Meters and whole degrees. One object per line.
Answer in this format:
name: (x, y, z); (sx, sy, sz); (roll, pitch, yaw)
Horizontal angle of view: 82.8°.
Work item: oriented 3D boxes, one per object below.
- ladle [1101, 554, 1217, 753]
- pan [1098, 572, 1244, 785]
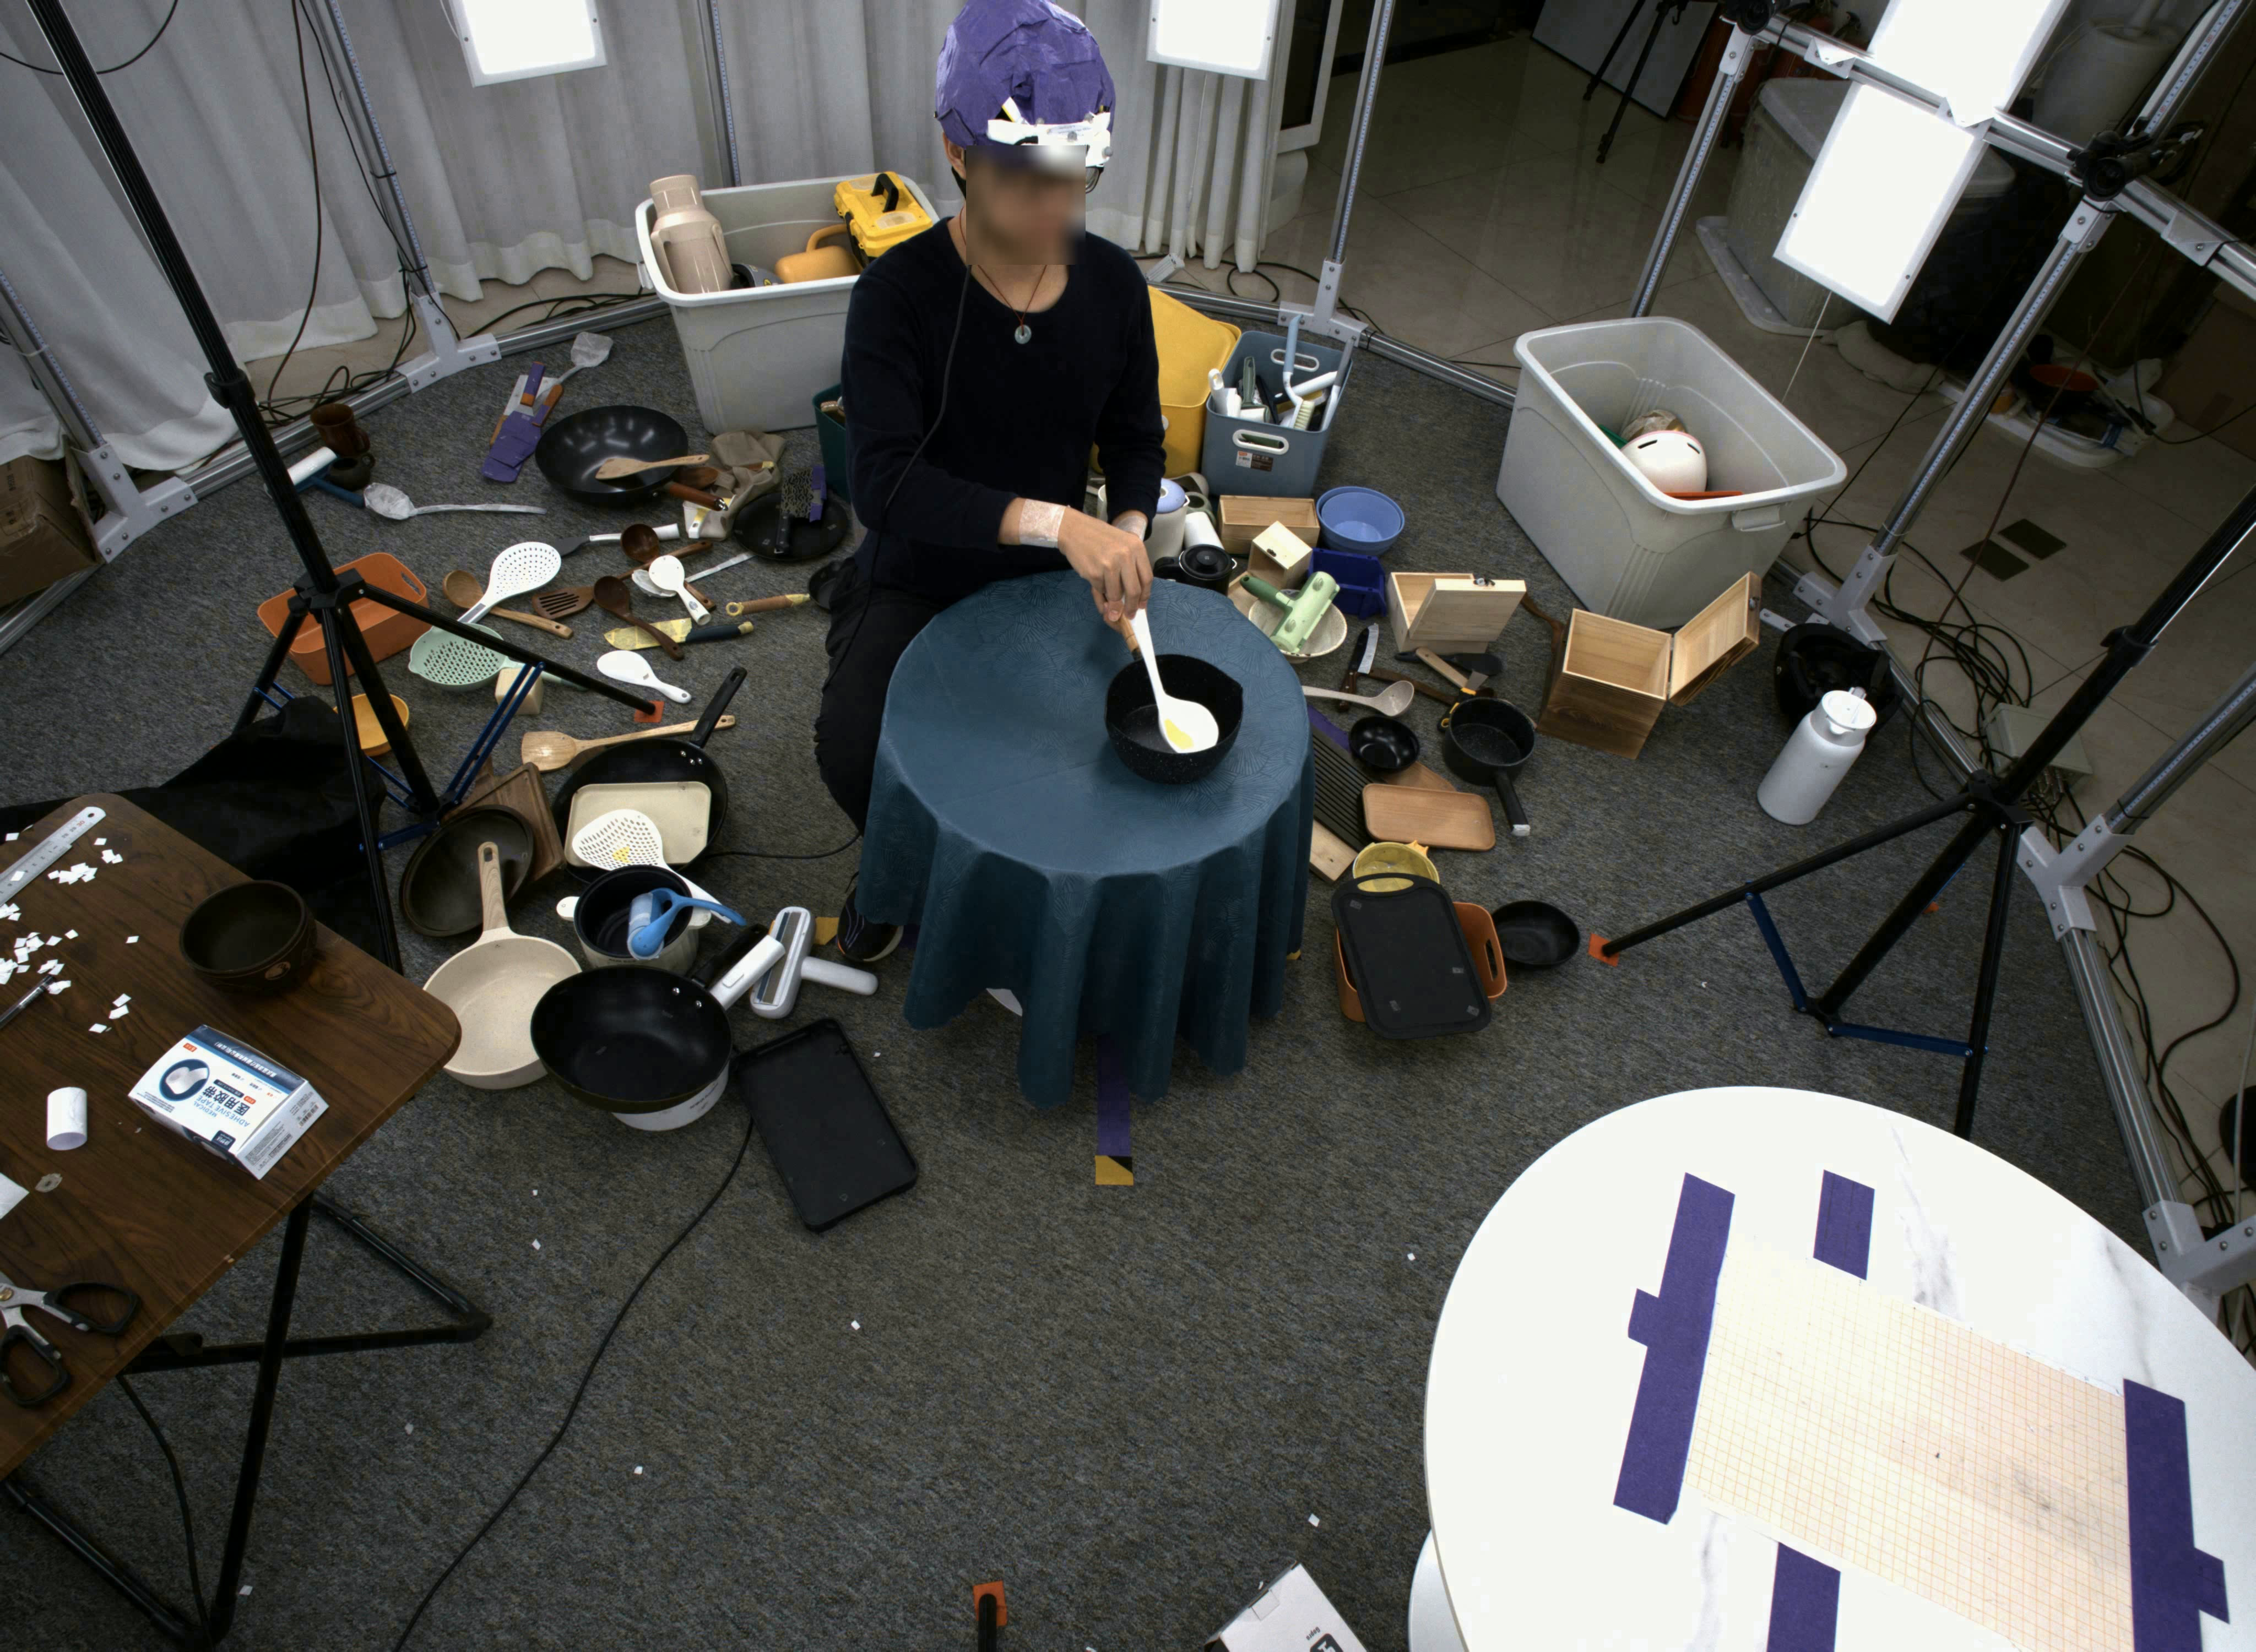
ladle: (0.038, -0.211, 1.643); (0.071, 0.286, 0.091); (16, 48, 44)
pan: (0.028, -0.205, 1.775); (0.207, 0.105, 0.350); (-17, 55, -16)
